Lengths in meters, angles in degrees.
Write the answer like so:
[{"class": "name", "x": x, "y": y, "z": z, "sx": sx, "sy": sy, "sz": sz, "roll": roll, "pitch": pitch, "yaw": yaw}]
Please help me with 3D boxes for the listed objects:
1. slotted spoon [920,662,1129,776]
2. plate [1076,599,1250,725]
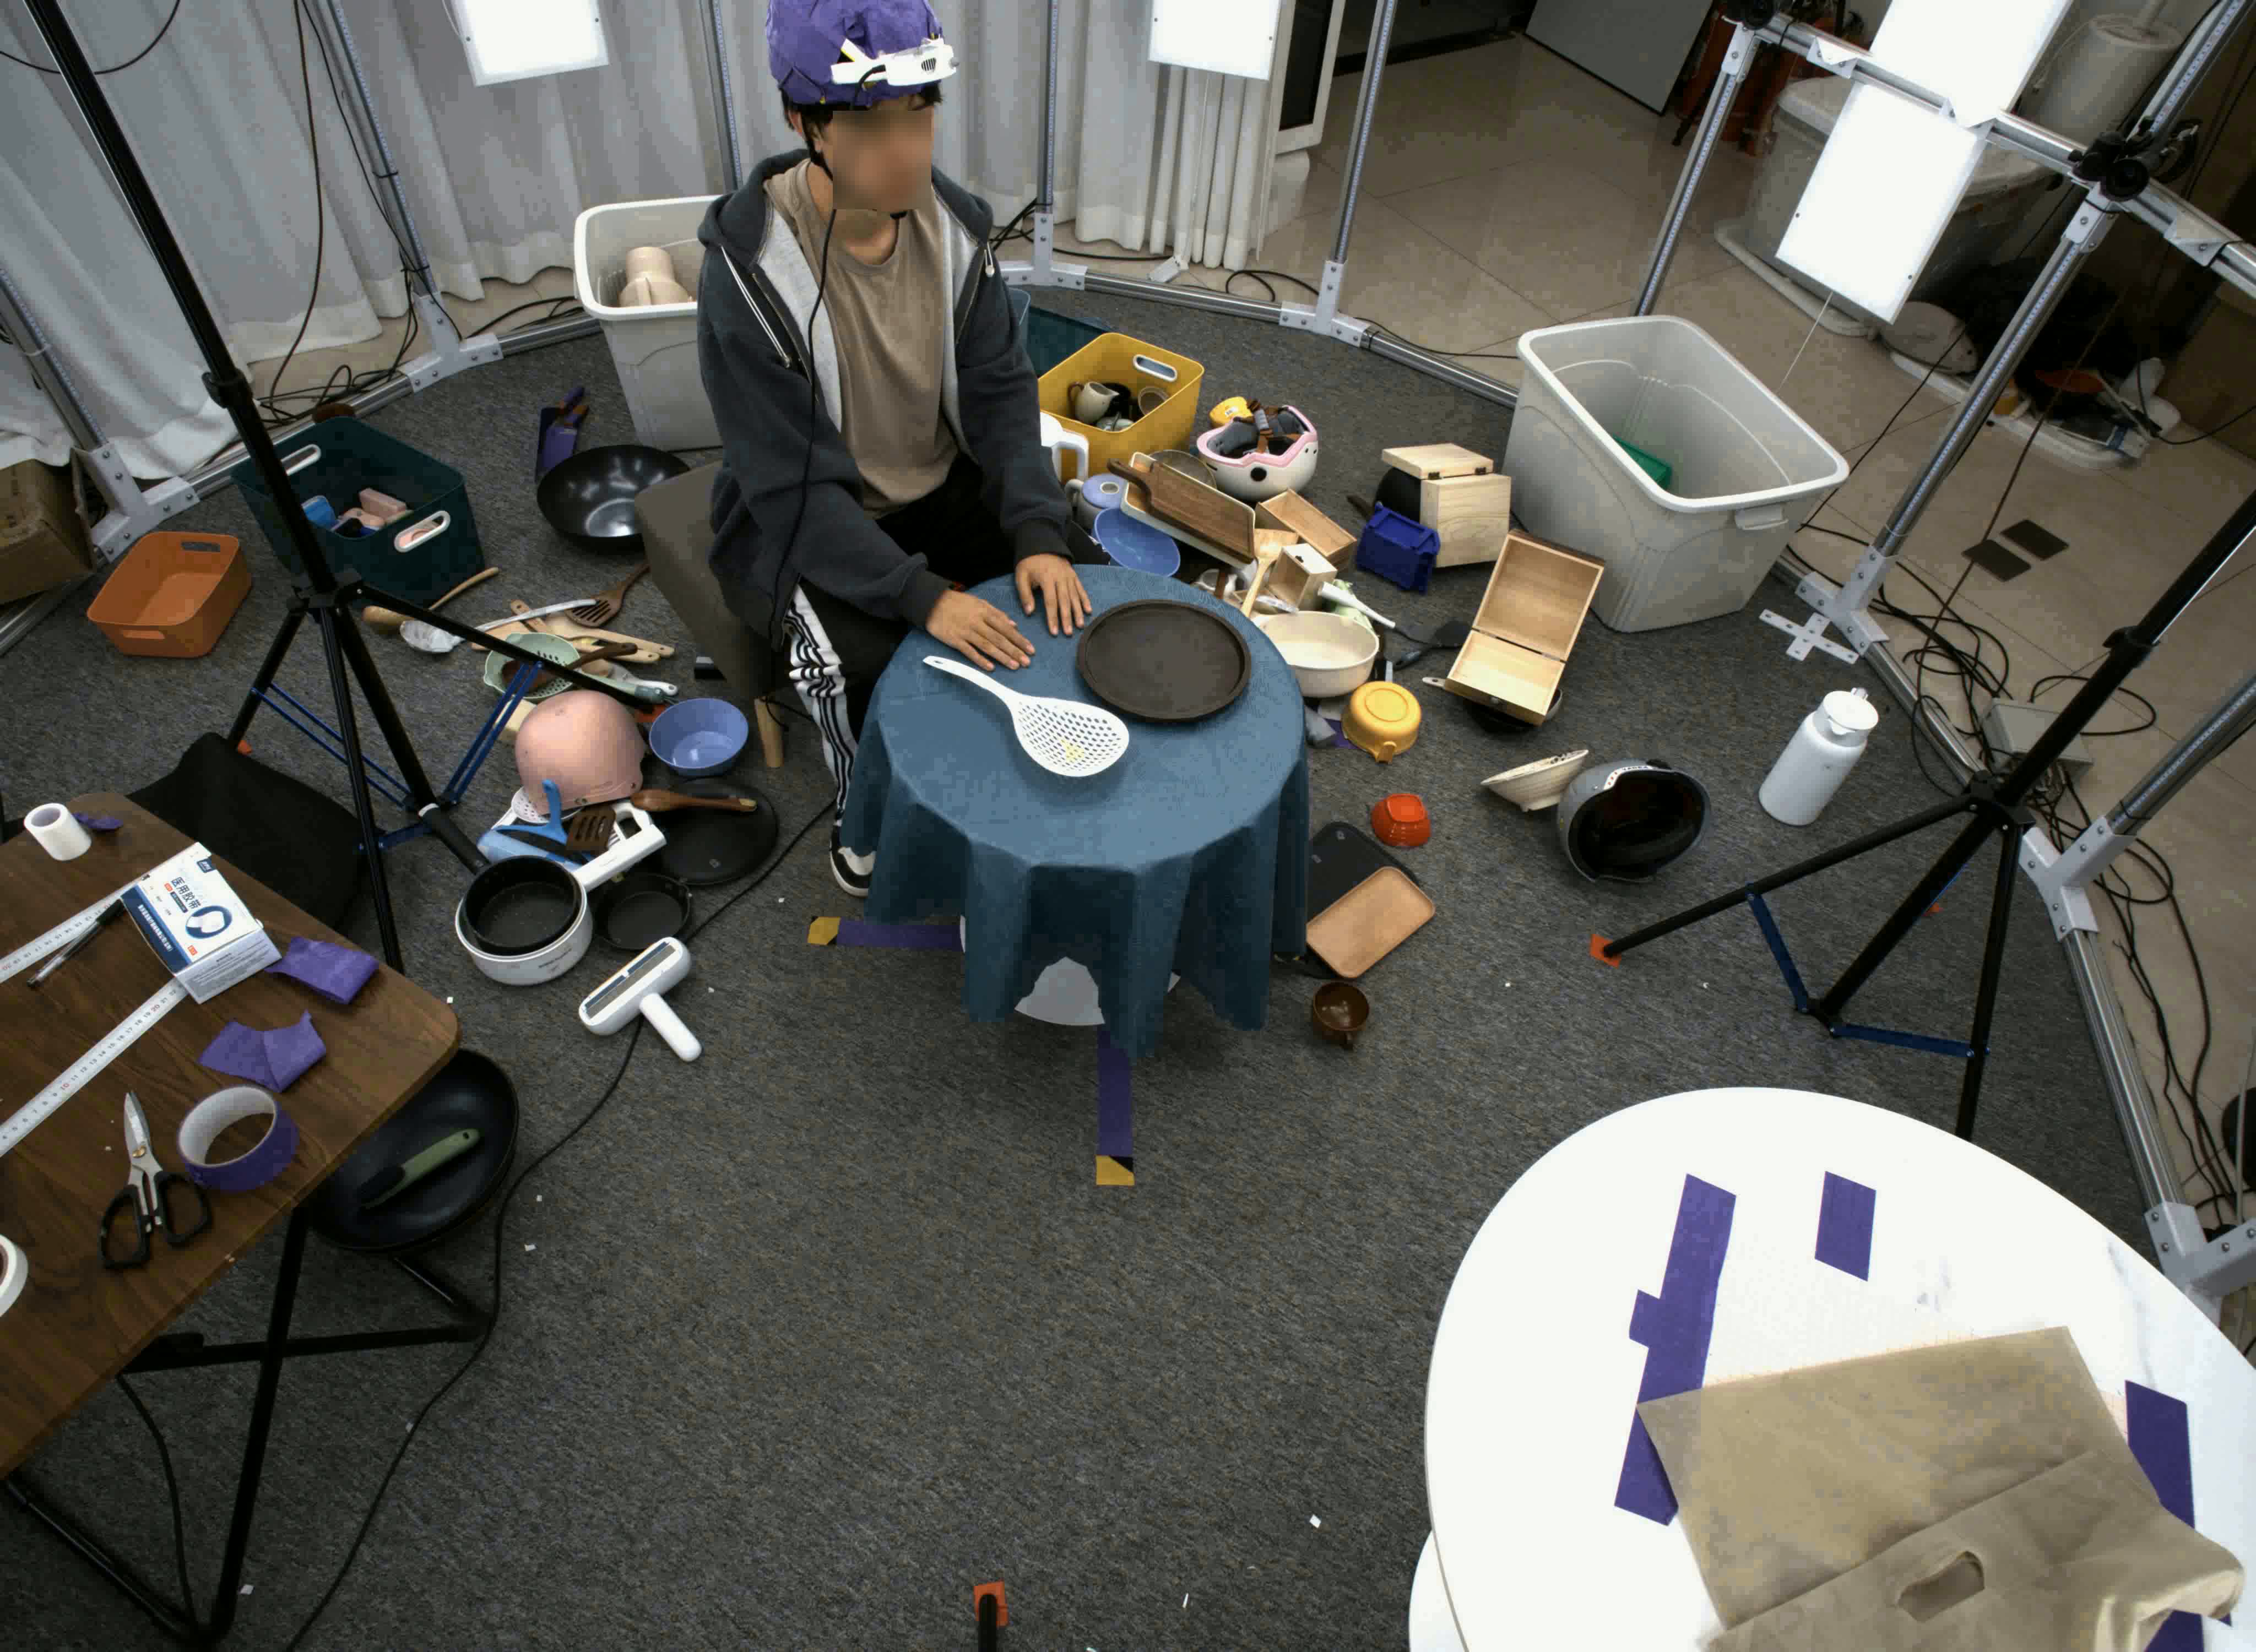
[{"class": "slotted spoon", "x": -0.154, "y": -0.163, "z": 1.771, "sx": 0.352, "sy": 0.049, "sz": 0.138, "roll": 33, "pitch": 57, "yaw": 23}, {"class": "plate", "x": 0.051, "y": -0.239, "z": 1.863, "sx": 0.254, "sy": 0.028, "sz": 0.261, "roll": 1, "pitch": 49, "yaw": -2}]
